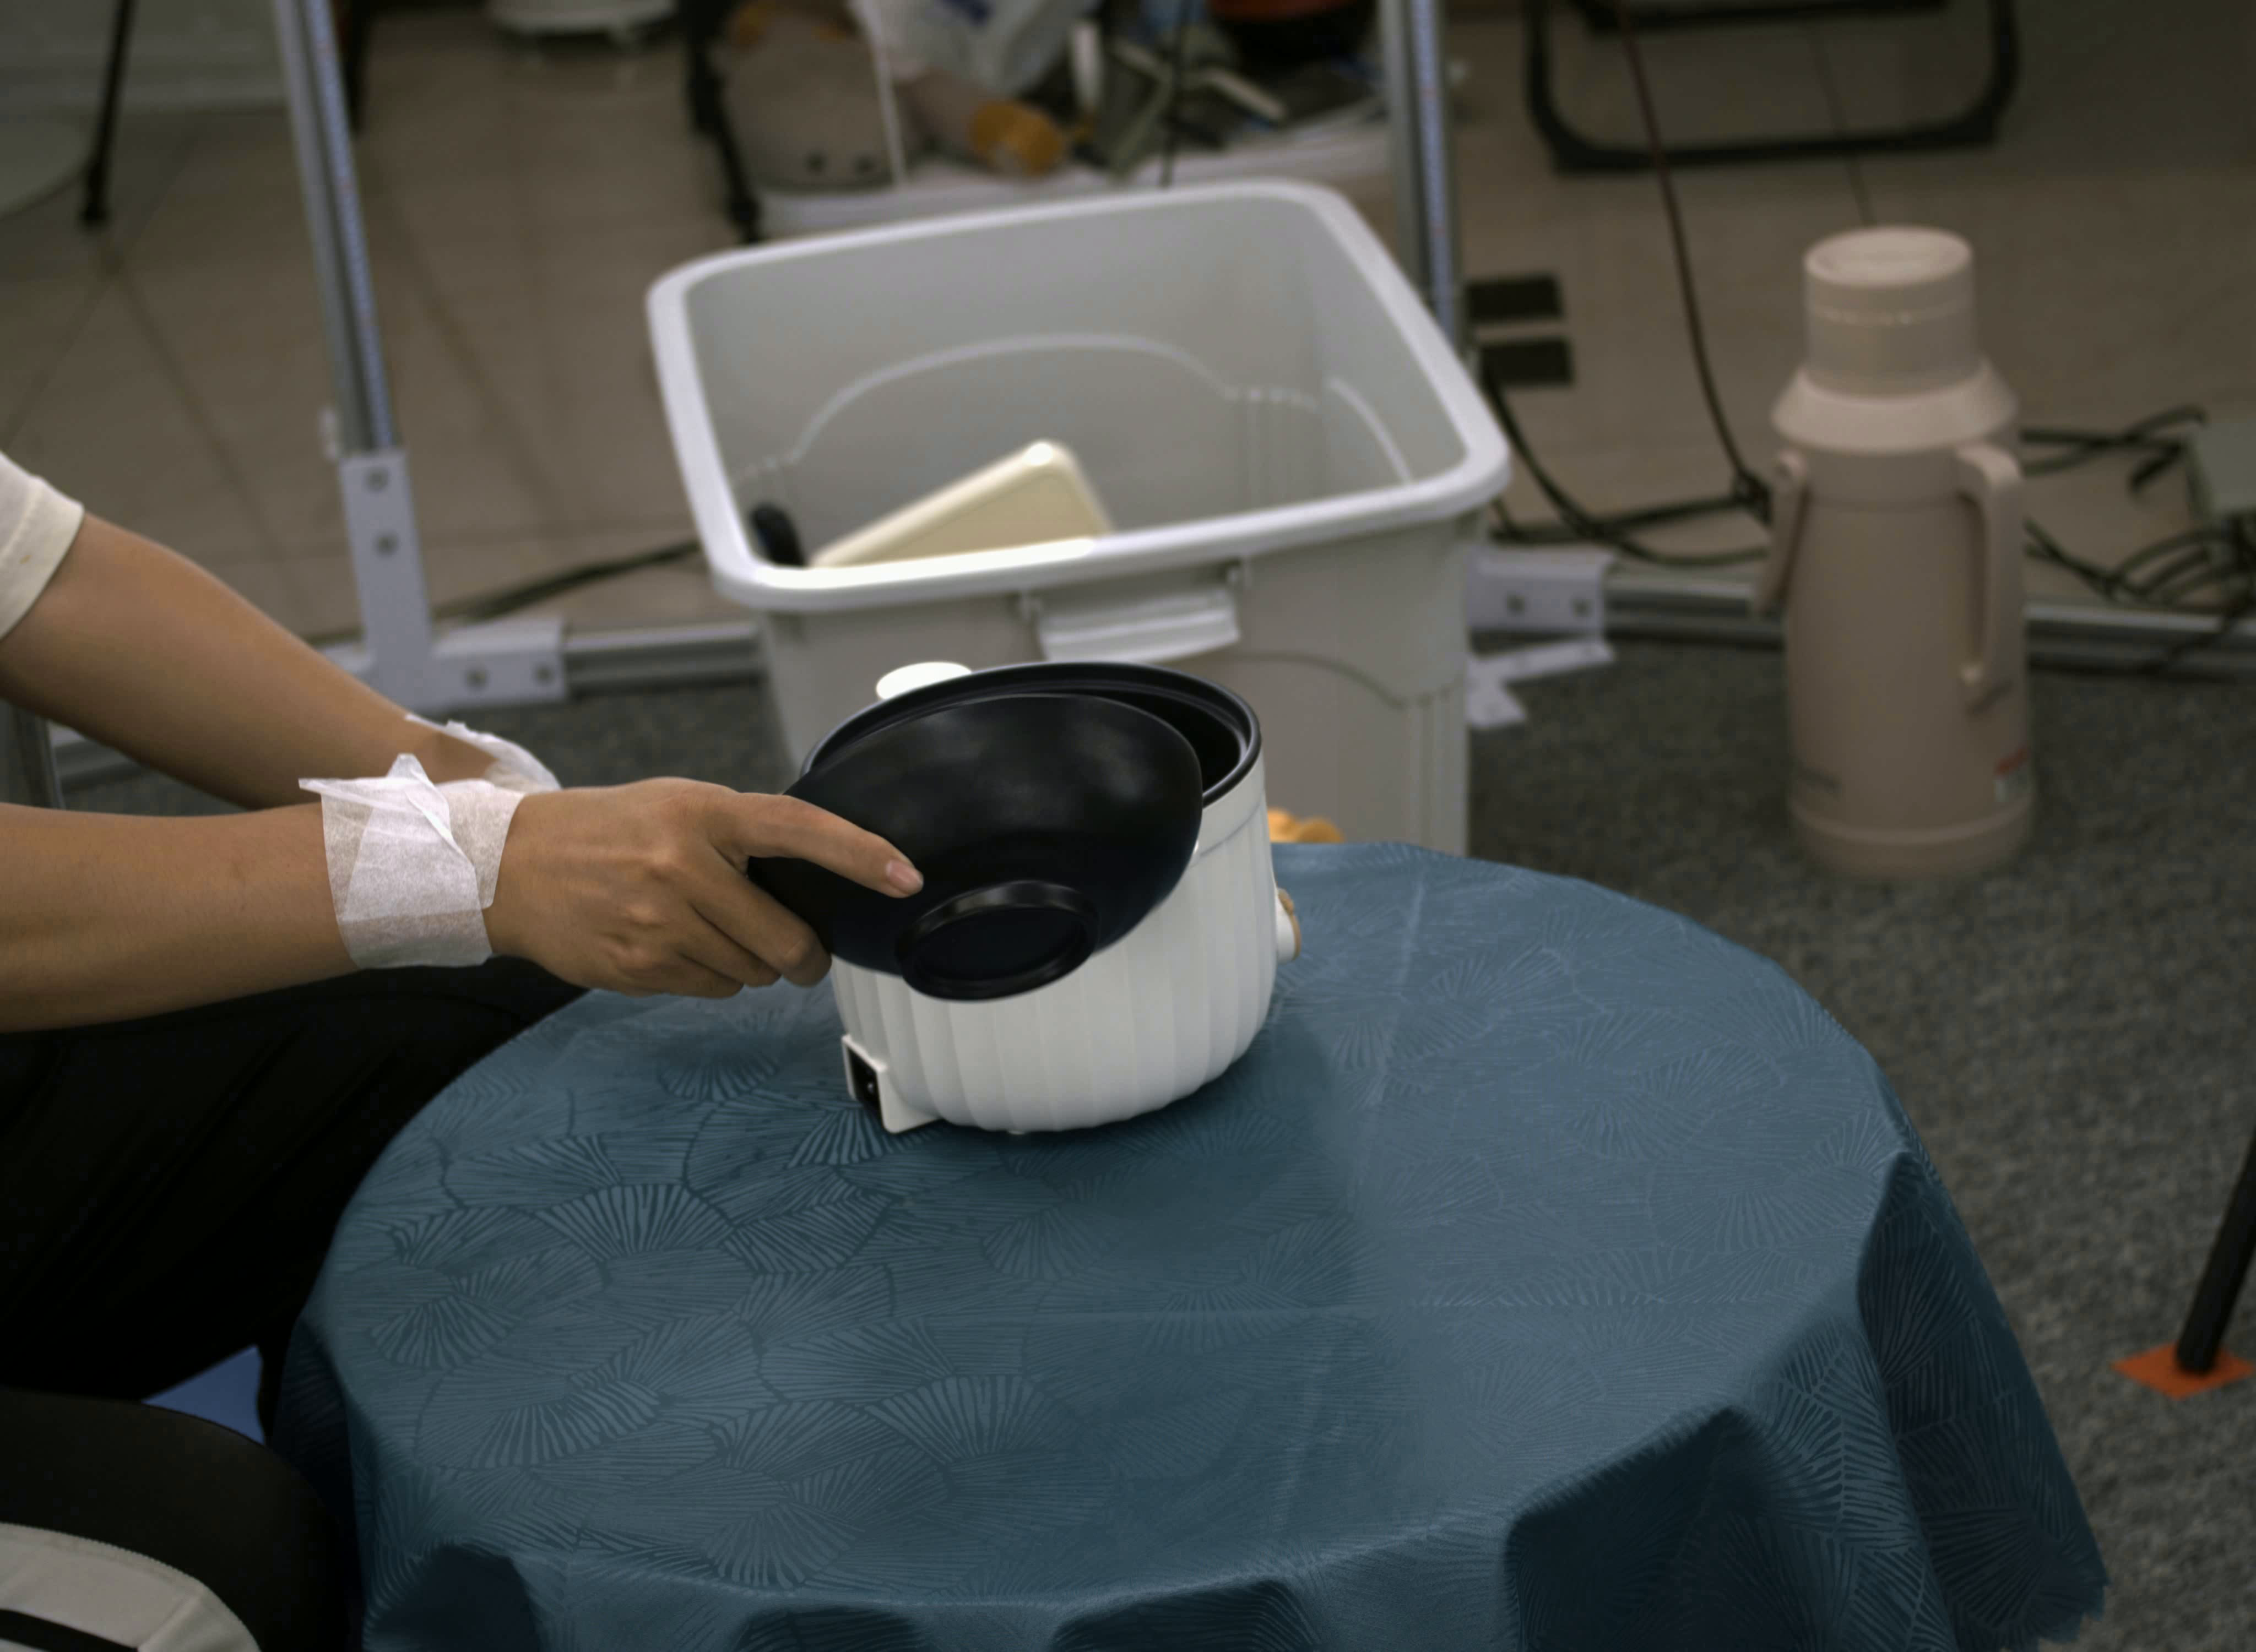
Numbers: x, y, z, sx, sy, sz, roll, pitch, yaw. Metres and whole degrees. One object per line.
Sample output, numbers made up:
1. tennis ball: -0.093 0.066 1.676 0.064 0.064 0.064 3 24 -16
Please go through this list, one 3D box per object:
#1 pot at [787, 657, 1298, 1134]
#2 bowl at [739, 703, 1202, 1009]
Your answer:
1. pot: -0.028 0.029 2.227 0.189 0.145 0.237 -21 29 -20
2. bowl: -0.048 0.019 1.954 0.170 0.139 0.066 2 58 -27
